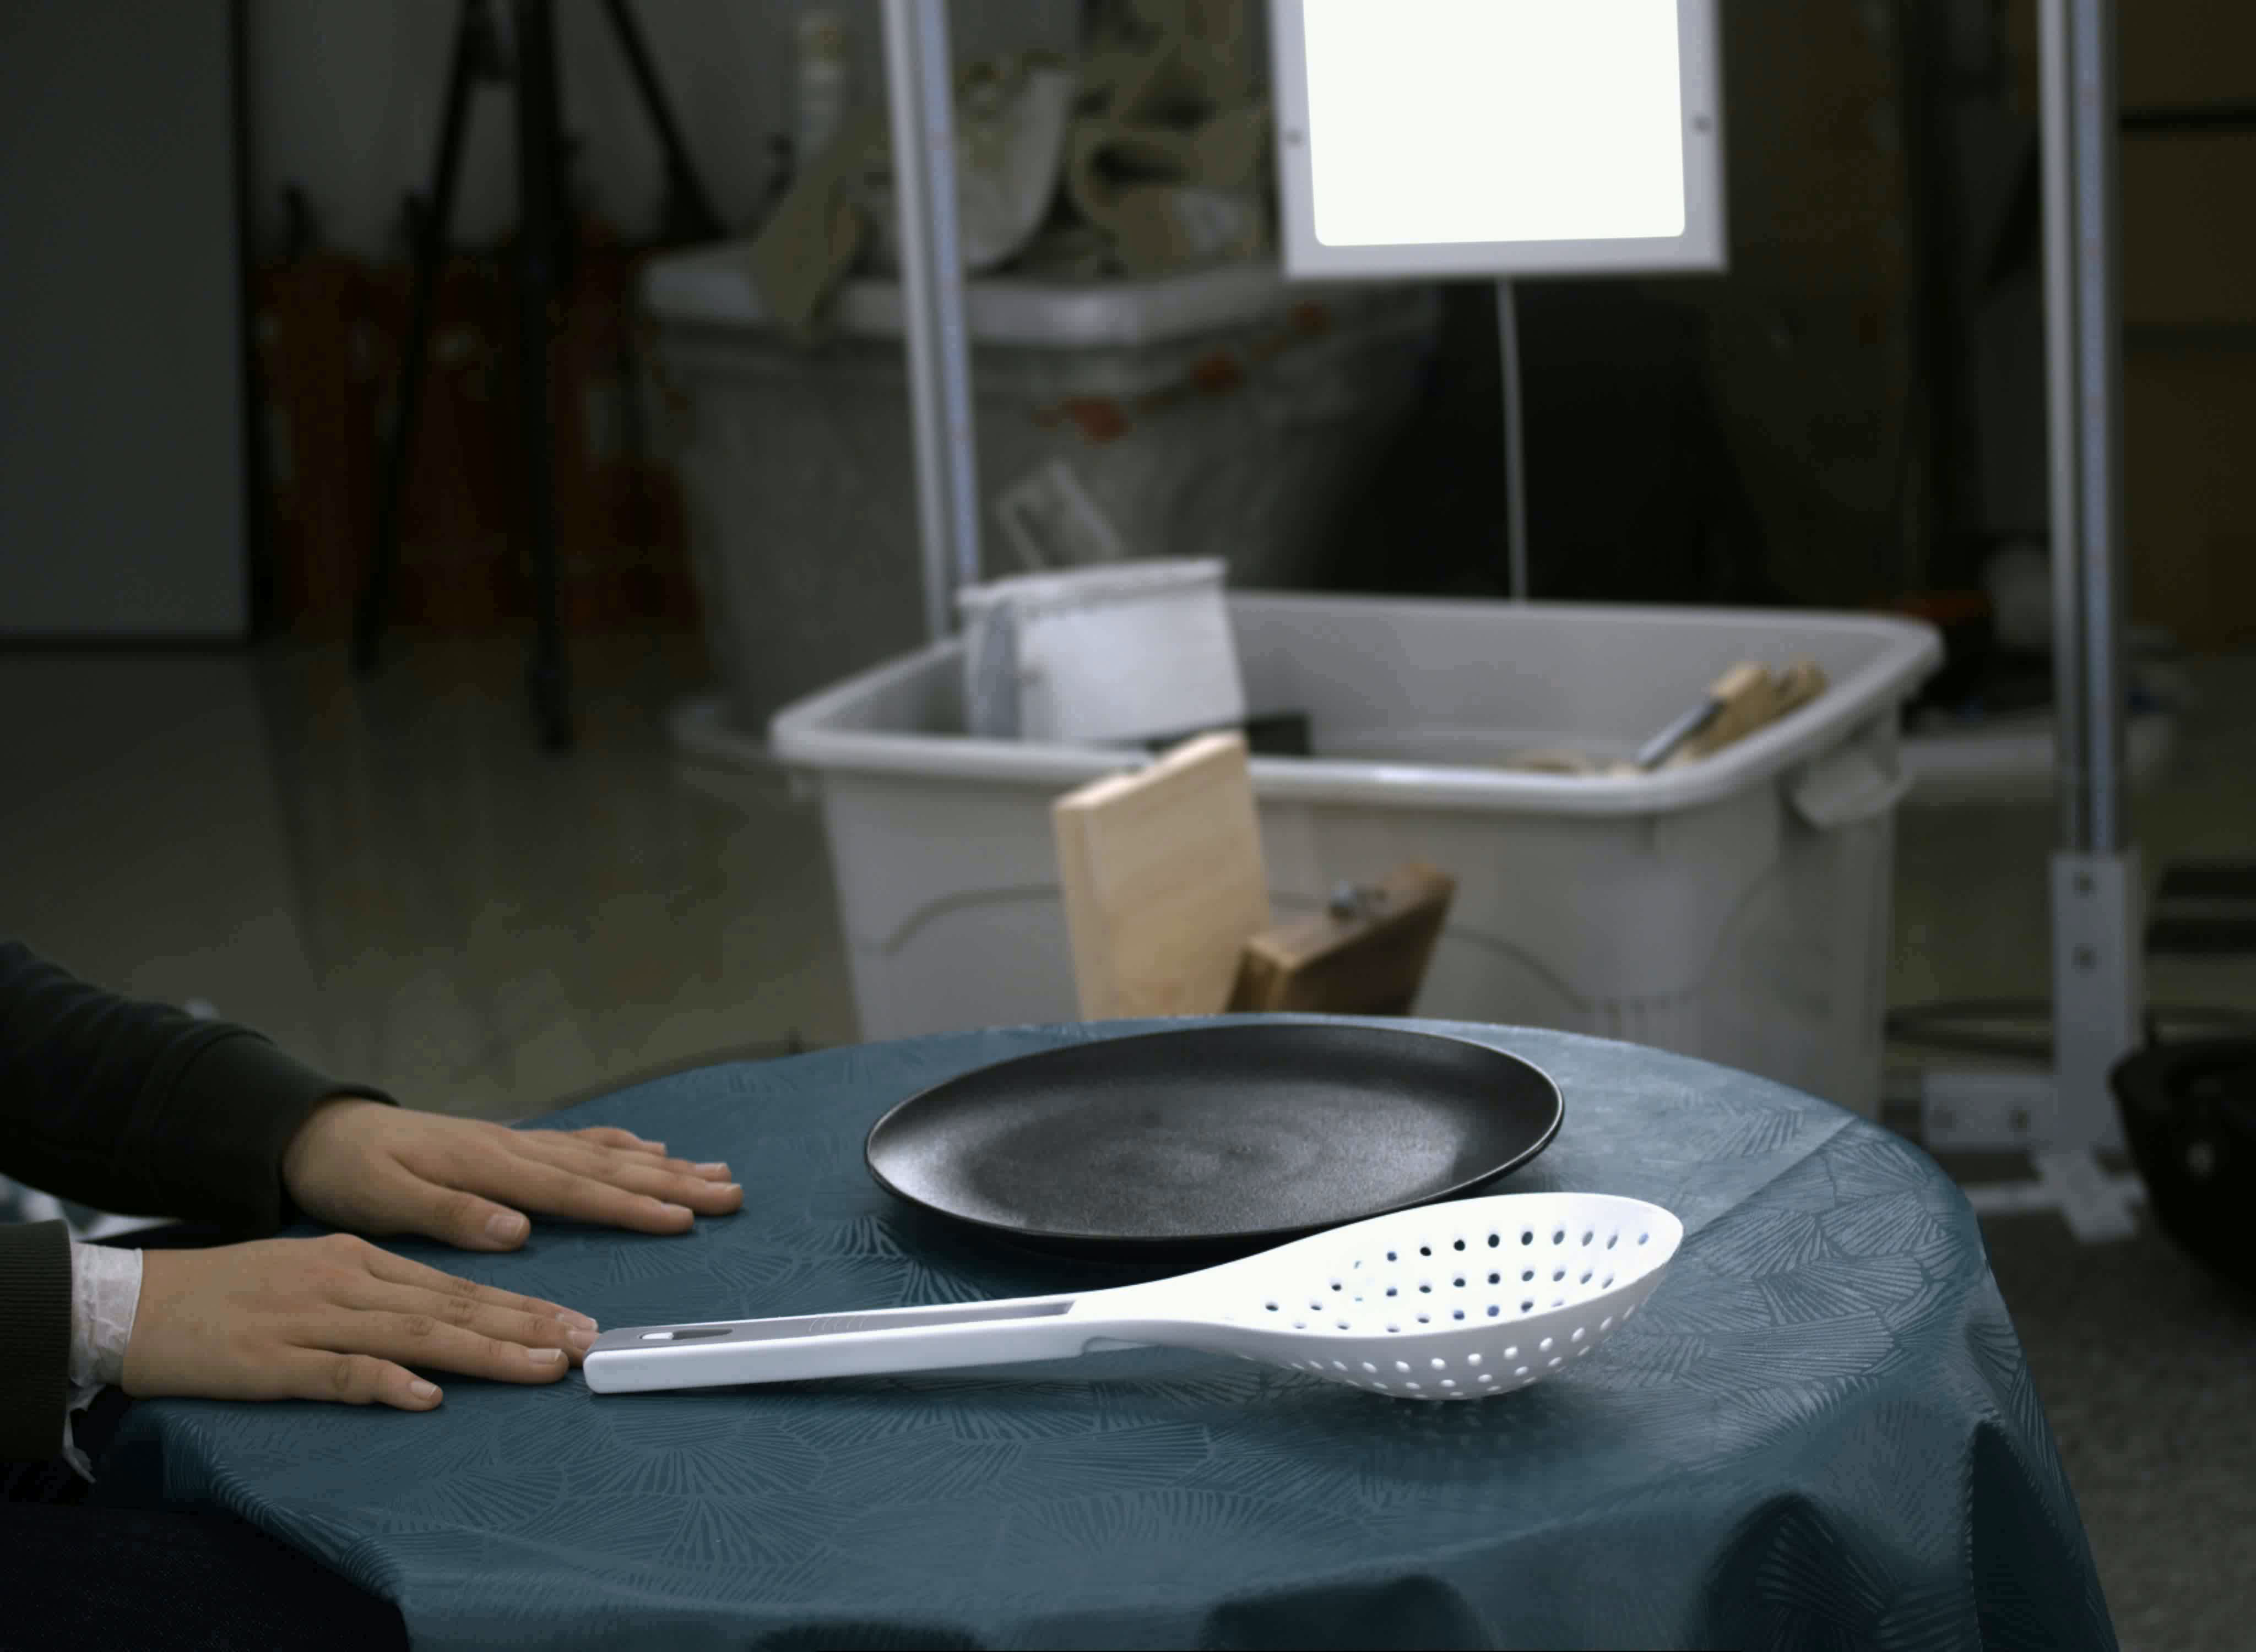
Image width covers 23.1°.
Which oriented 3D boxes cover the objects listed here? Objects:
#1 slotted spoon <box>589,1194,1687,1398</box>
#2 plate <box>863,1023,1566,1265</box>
[{"bbox_3d":[0.000,0.151,1.700,0.353,0.046,0.134,-2,12,15],"label":"slotted spoon"},{"bbox_3d":[0.030,0.112,1.897,0.244,0.023,0.244,-5,14,0],"label":"plate"}]
